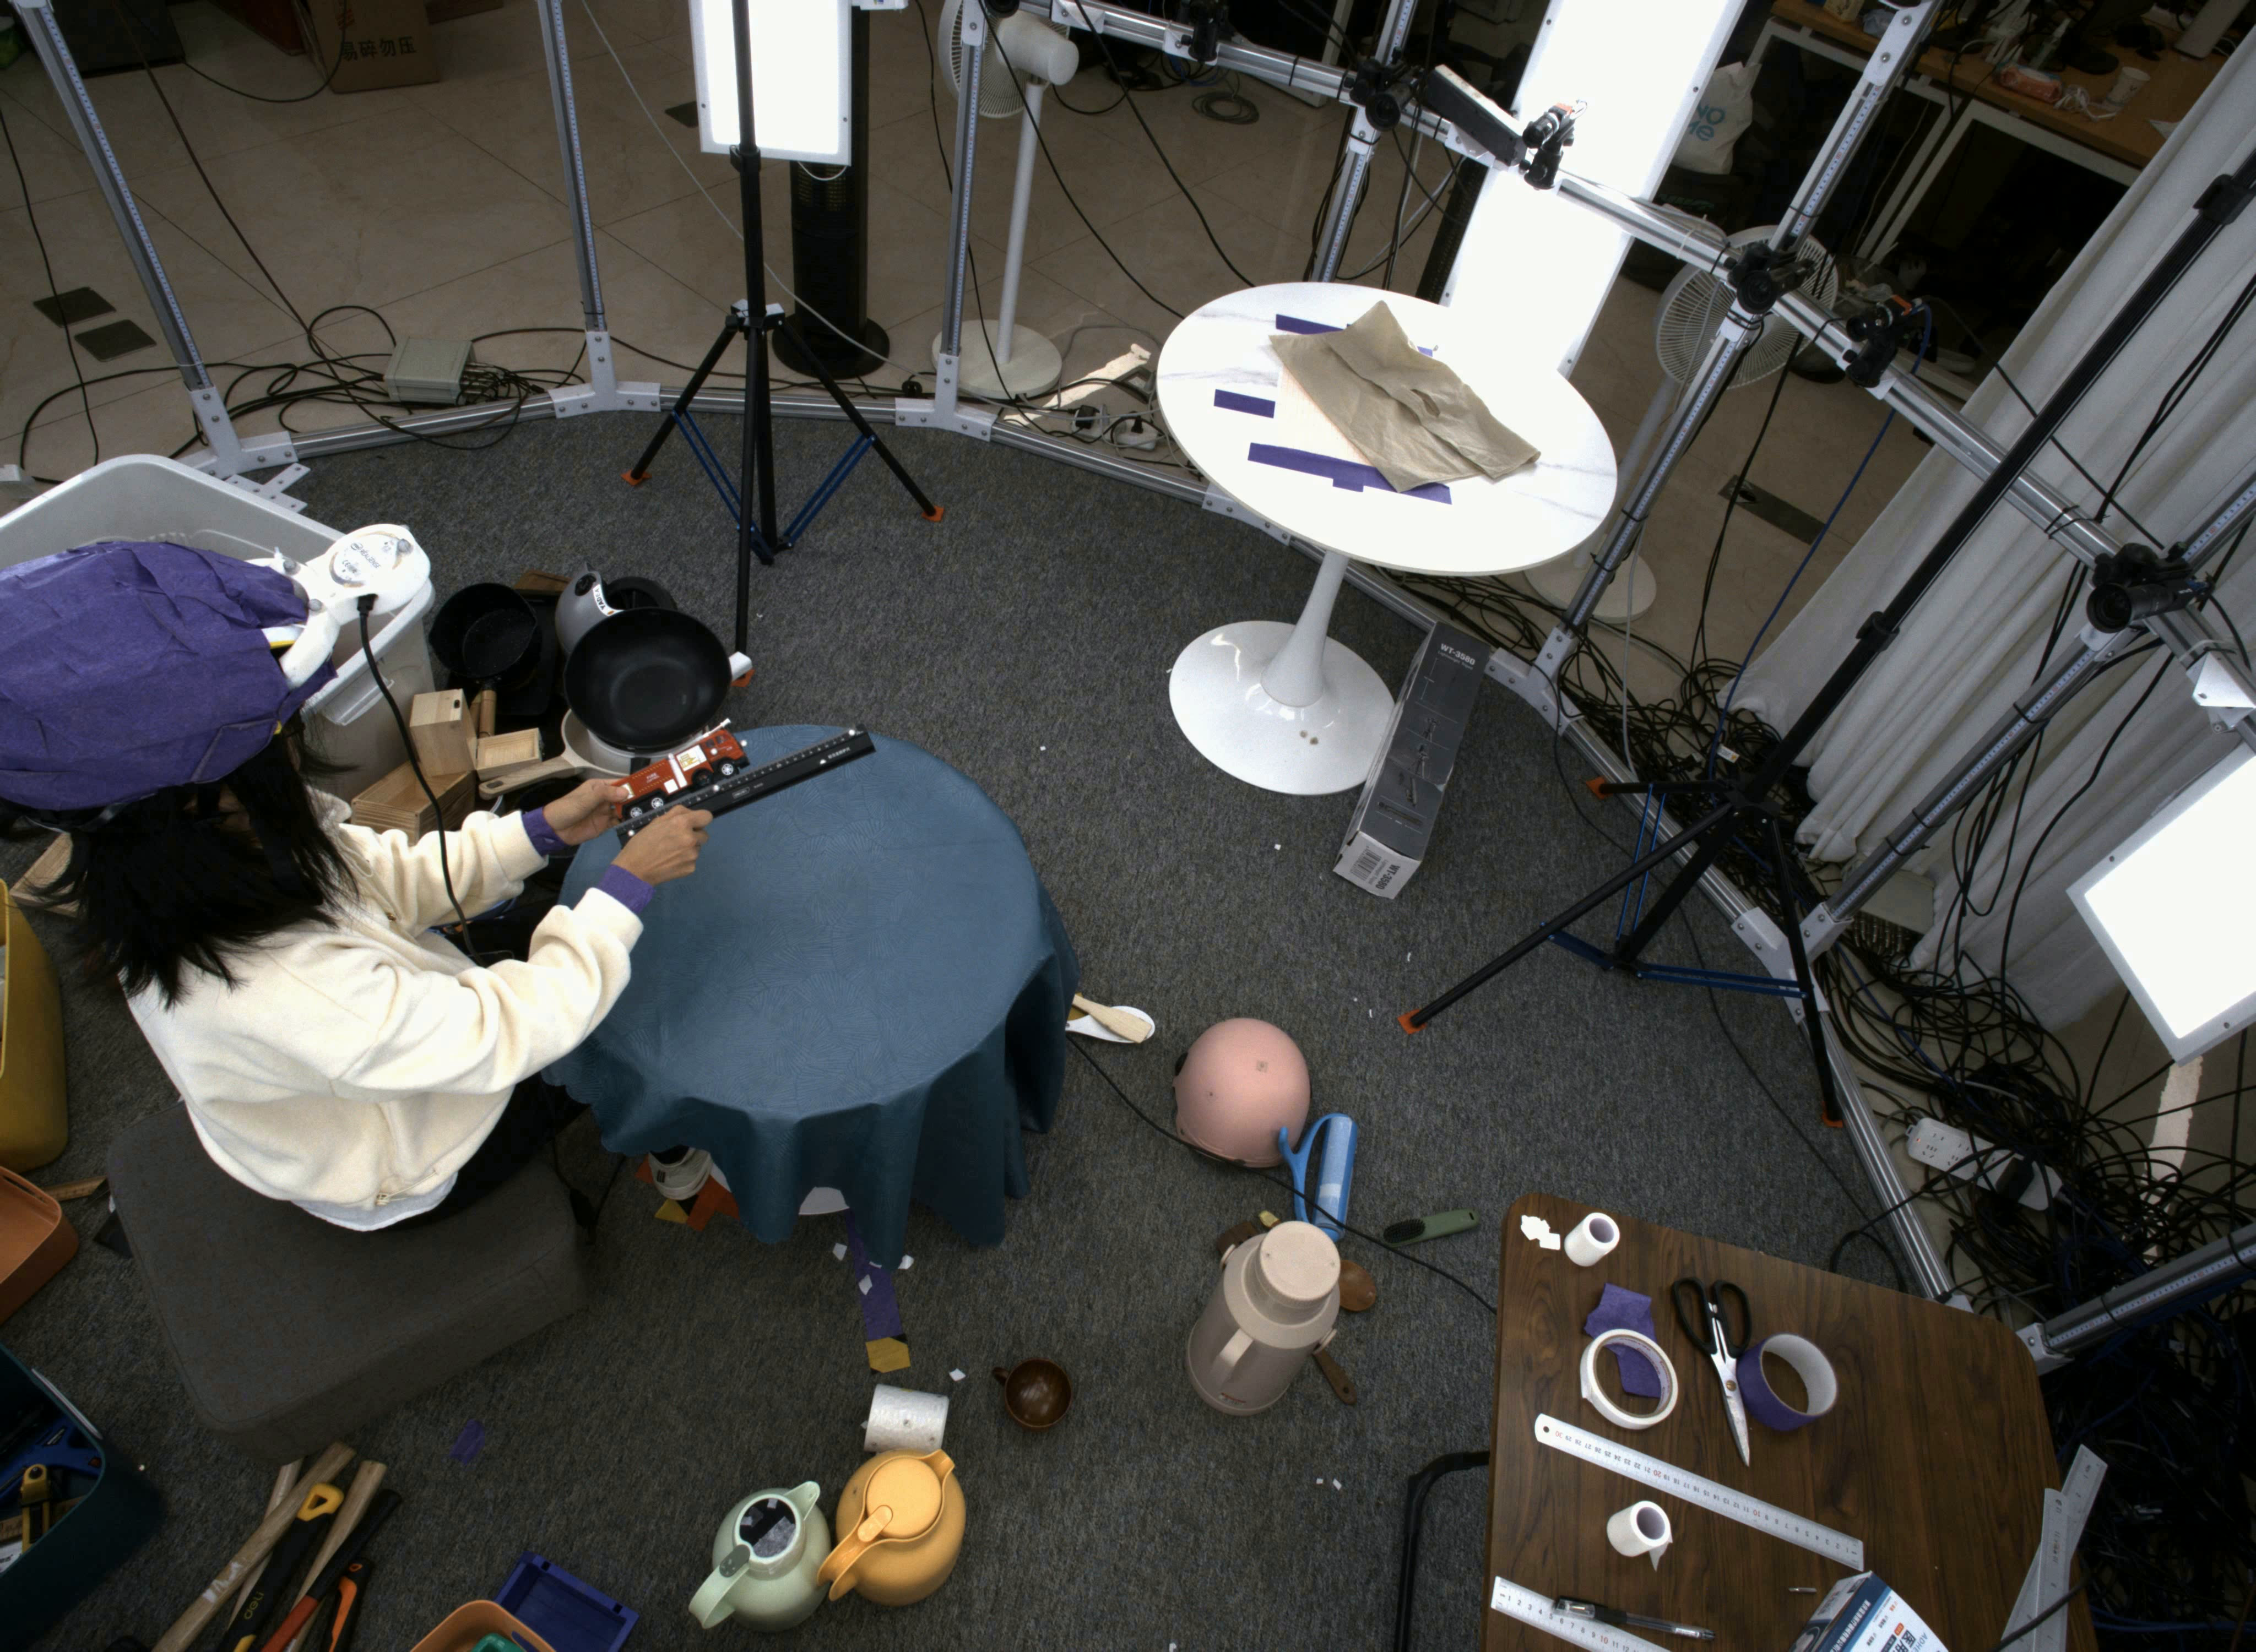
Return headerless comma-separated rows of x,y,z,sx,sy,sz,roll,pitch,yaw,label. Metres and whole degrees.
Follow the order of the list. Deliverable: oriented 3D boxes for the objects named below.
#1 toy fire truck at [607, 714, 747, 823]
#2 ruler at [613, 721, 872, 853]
-0.529,-0.062,1.505,0.167,0.053,0.071,-29,93,-11,toy fire truck
-0.447,-0.050,1.494,0.312,0.017,0.039,-24,84,-13,ruler
